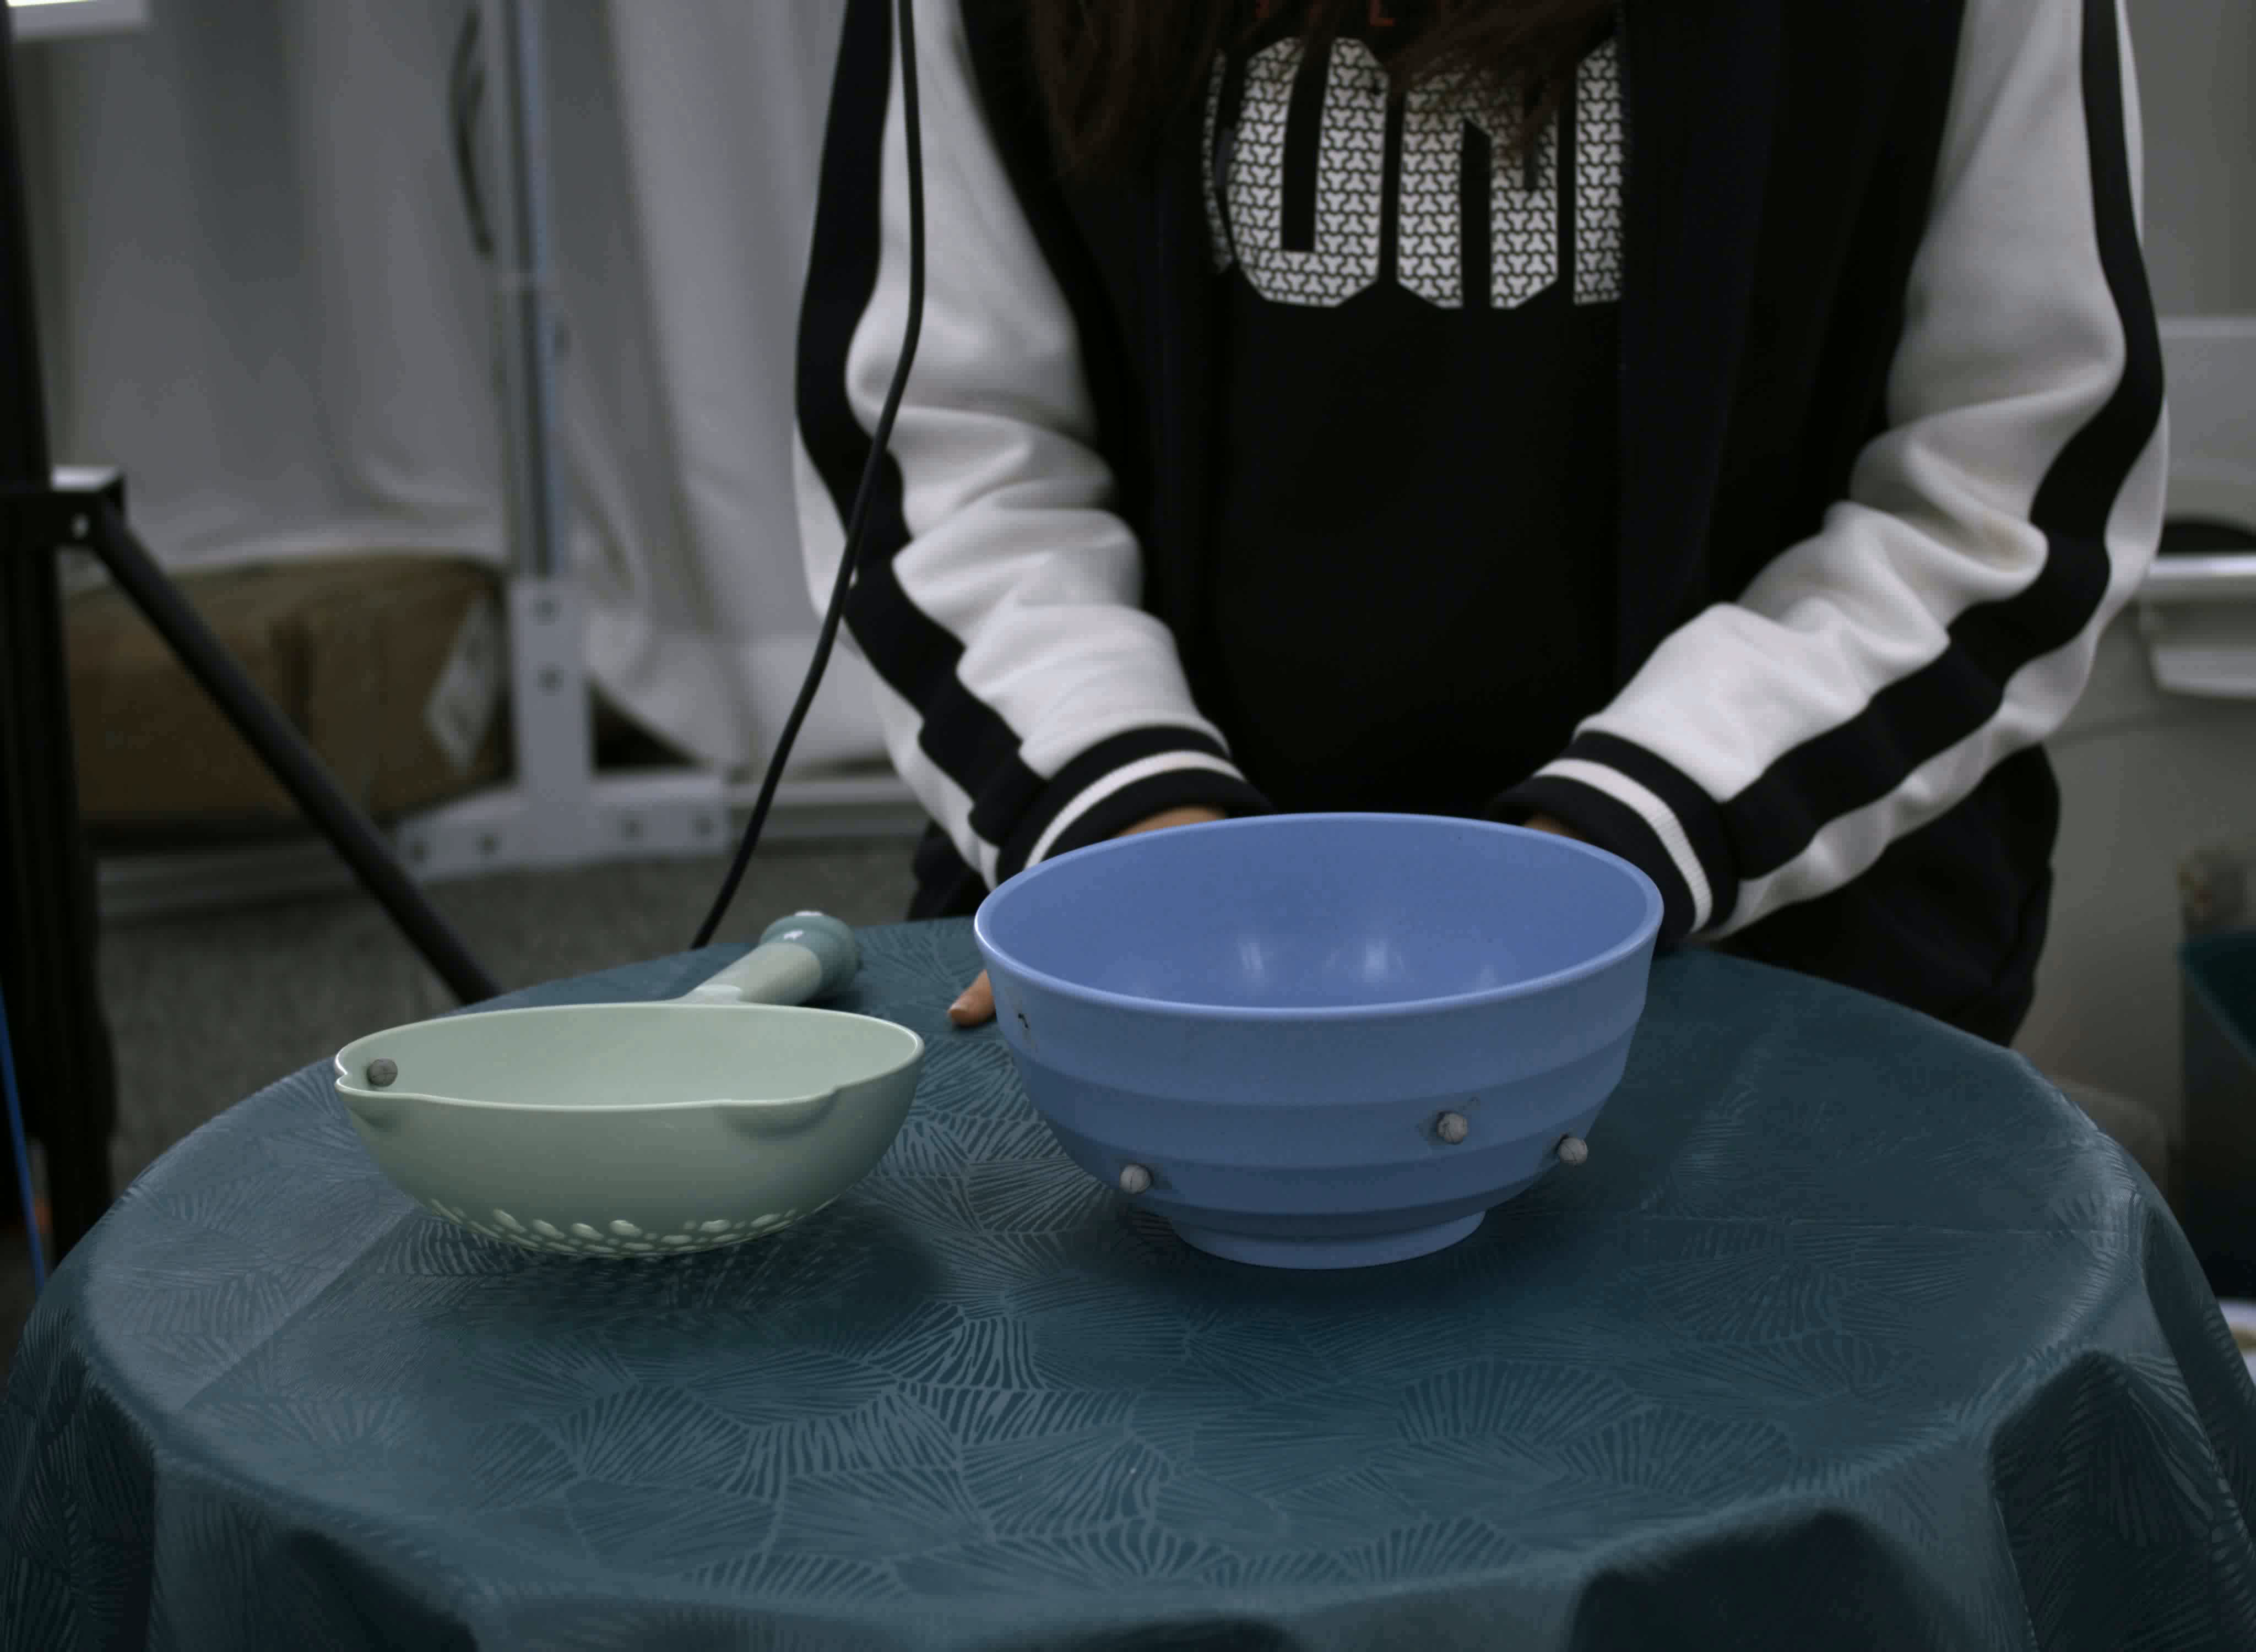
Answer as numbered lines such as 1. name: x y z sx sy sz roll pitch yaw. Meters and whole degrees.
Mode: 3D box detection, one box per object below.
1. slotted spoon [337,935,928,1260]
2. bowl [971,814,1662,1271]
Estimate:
1. slotted spoon: -0.126 0.067 1.619 0.170 0.075 0.357 1 14 10
2. bowl: 0.055 0.067 1.517 0.195 0.095 0.197 -3 16 -1
